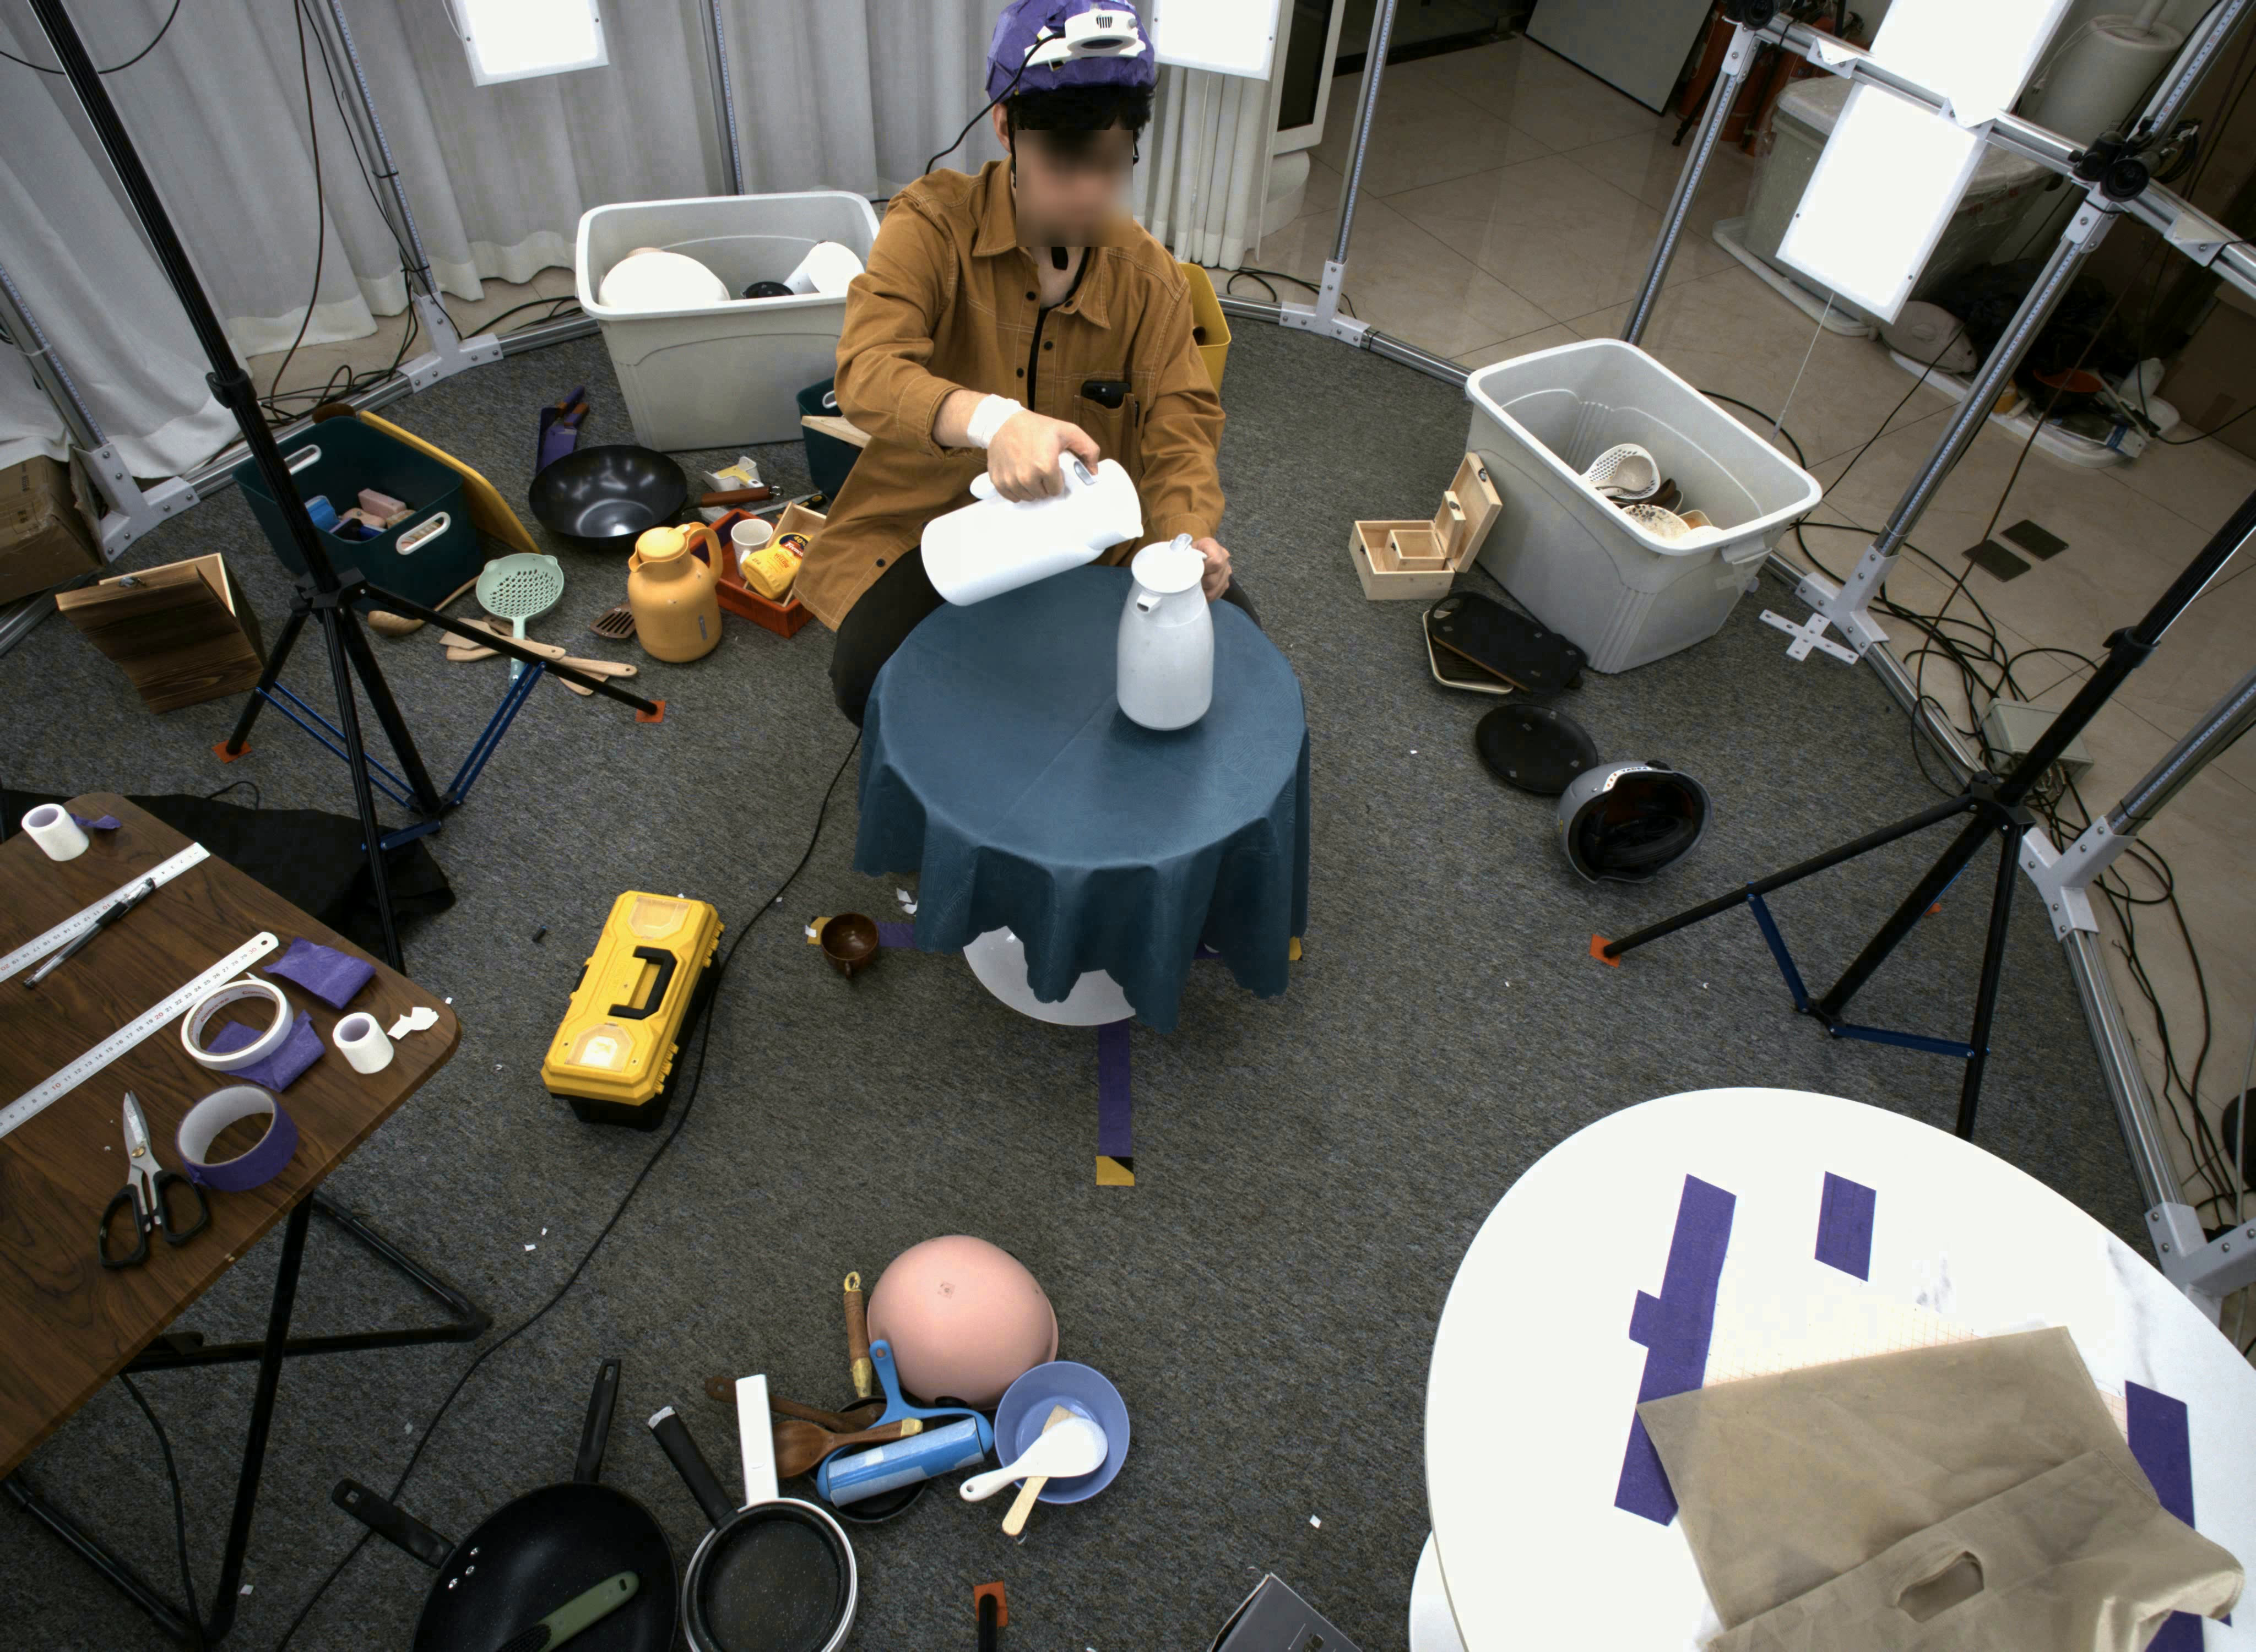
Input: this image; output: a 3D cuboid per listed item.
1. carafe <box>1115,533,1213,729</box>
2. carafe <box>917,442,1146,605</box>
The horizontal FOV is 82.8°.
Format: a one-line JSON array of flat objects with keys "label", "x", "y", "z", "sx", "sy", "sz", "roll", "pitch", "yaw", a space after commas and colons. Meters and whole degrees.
[{"label": "carafe", "x": 0.057, "y": -0.270, "z": 1.698, "sx": 0.133, "sy": 0.242, "sz": 0.170, "roll": 24, "pitch": 56, "yaw": 18}, {"label": "carafe", "x": -0.133, "y": -0.369, "z": 1.573, "sx": 0.268, "sy": 0.169, "sz": 0.126, "roll": -11, "pitch": 59, "yaw": 31}]
